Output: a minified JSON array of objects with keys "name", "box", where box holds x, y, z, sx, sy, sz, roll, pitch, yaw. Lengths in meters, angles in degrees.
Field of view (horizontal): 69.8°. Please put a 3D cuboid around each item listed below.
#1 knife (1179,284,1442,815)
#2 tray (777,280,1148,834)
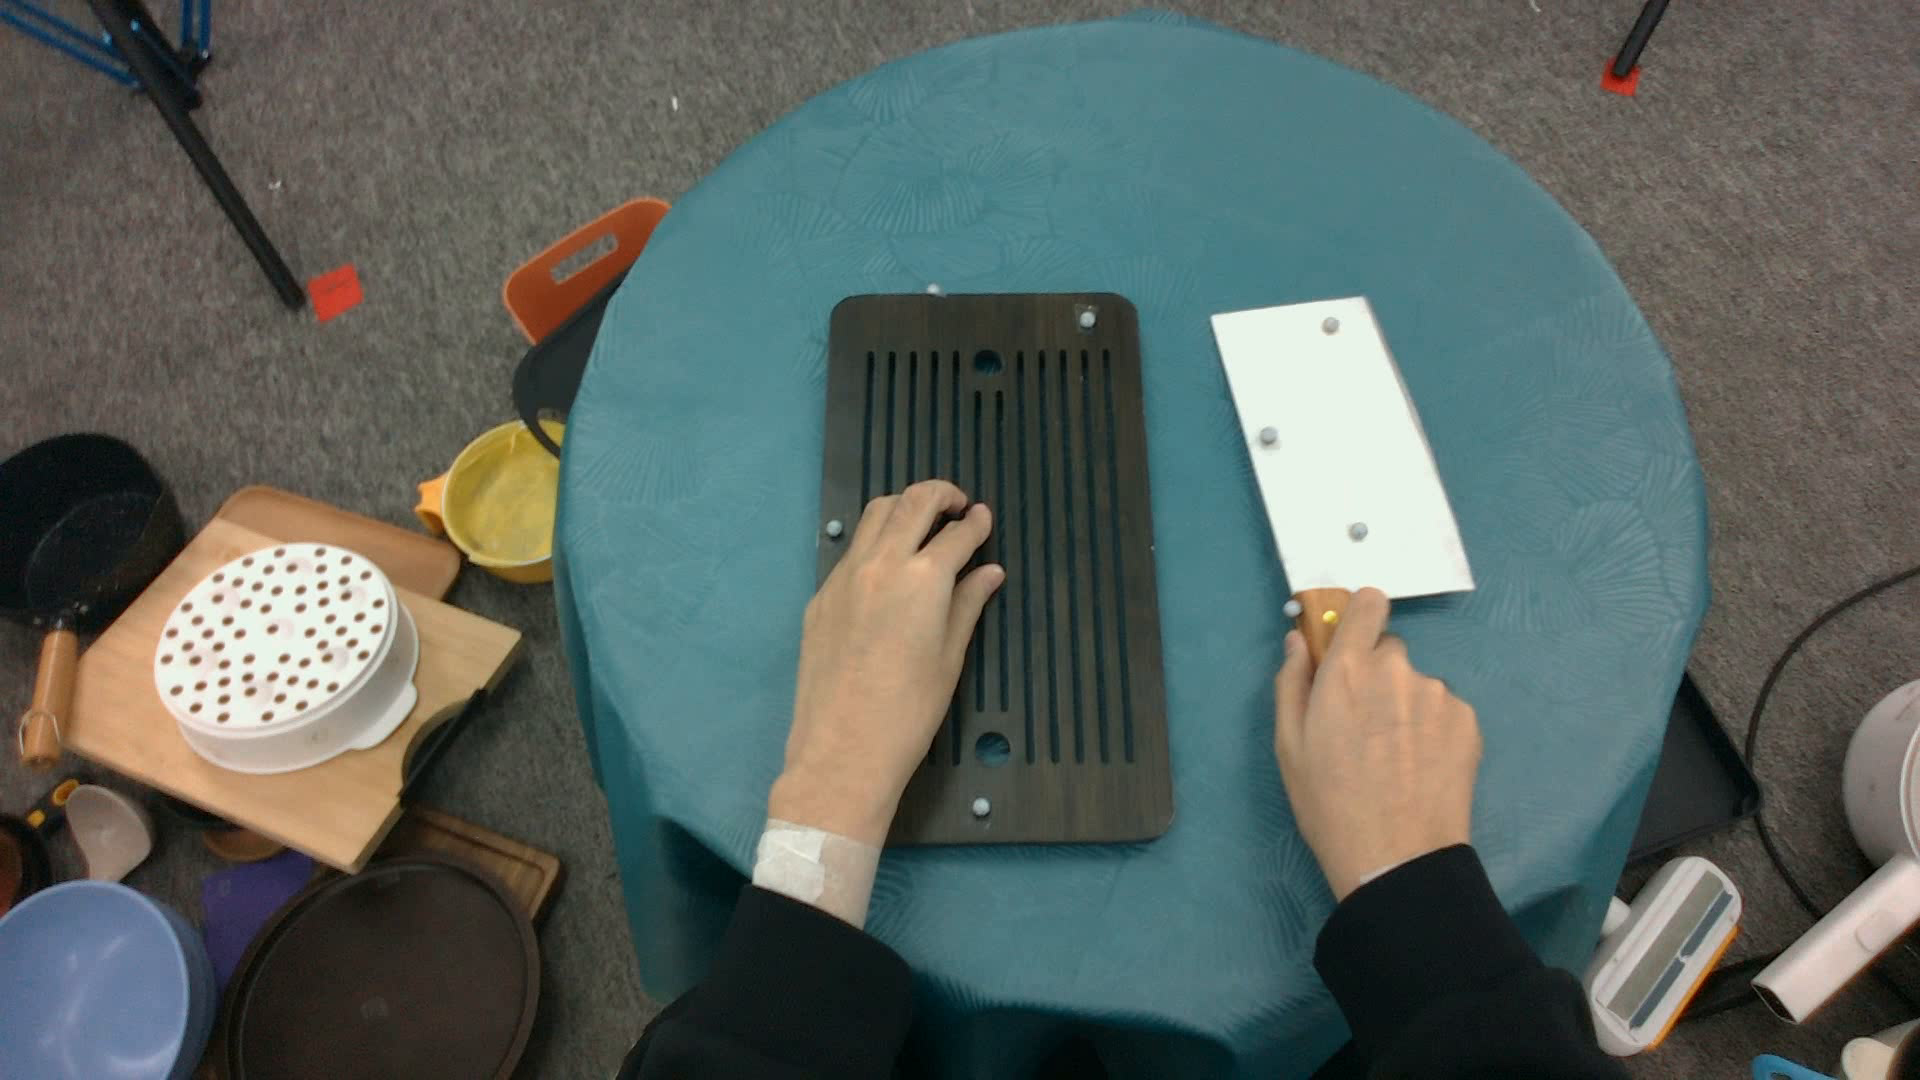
[{"name":"knife","box":[0.189,-0.012,0.697,0.093,0.021,0.307,-8,59,-5]},{"name":"tray","box":[-0.002,-0.003,0.695,0.170,0.018,0.307,-1,63,-1]}]
